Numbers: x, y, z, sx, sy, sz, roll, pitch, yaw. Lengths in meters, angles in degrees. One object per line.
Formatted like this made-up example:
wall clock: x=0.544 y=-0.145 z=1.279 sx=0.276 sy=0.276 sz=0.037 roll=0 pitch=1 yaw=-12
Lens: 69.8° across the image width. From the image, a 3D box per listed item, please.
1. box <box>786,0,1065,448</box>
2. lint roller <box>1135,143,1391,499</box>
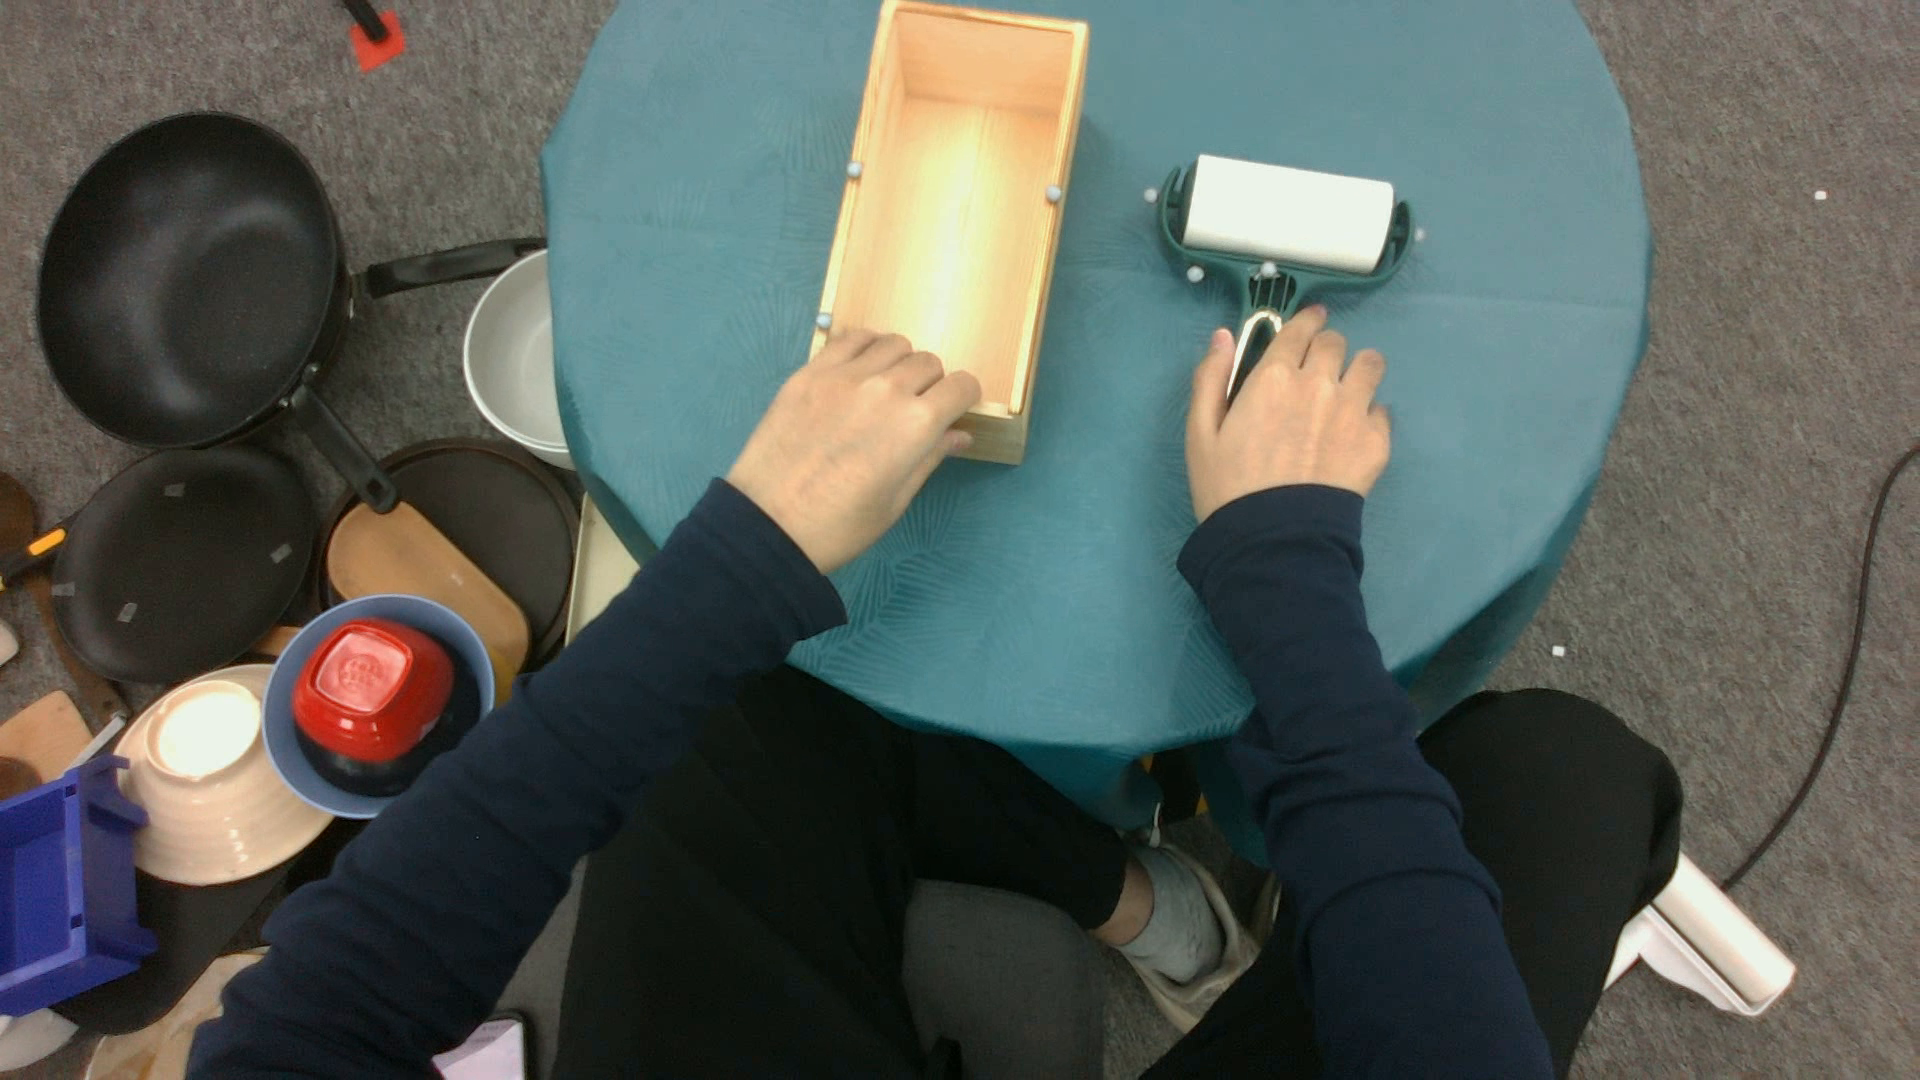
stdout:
box: x=-0.014 y=-0.165 z=0.710 sx=0.107 sy=0.080 sz=0.212 roll=8 pitch=77 yaw=2
lint roller: x=0.146 y=-0.113 z=0.715 sx=0.134 sy=0.048 sz=0.180 roll=10 pitch=80 yaw=3
